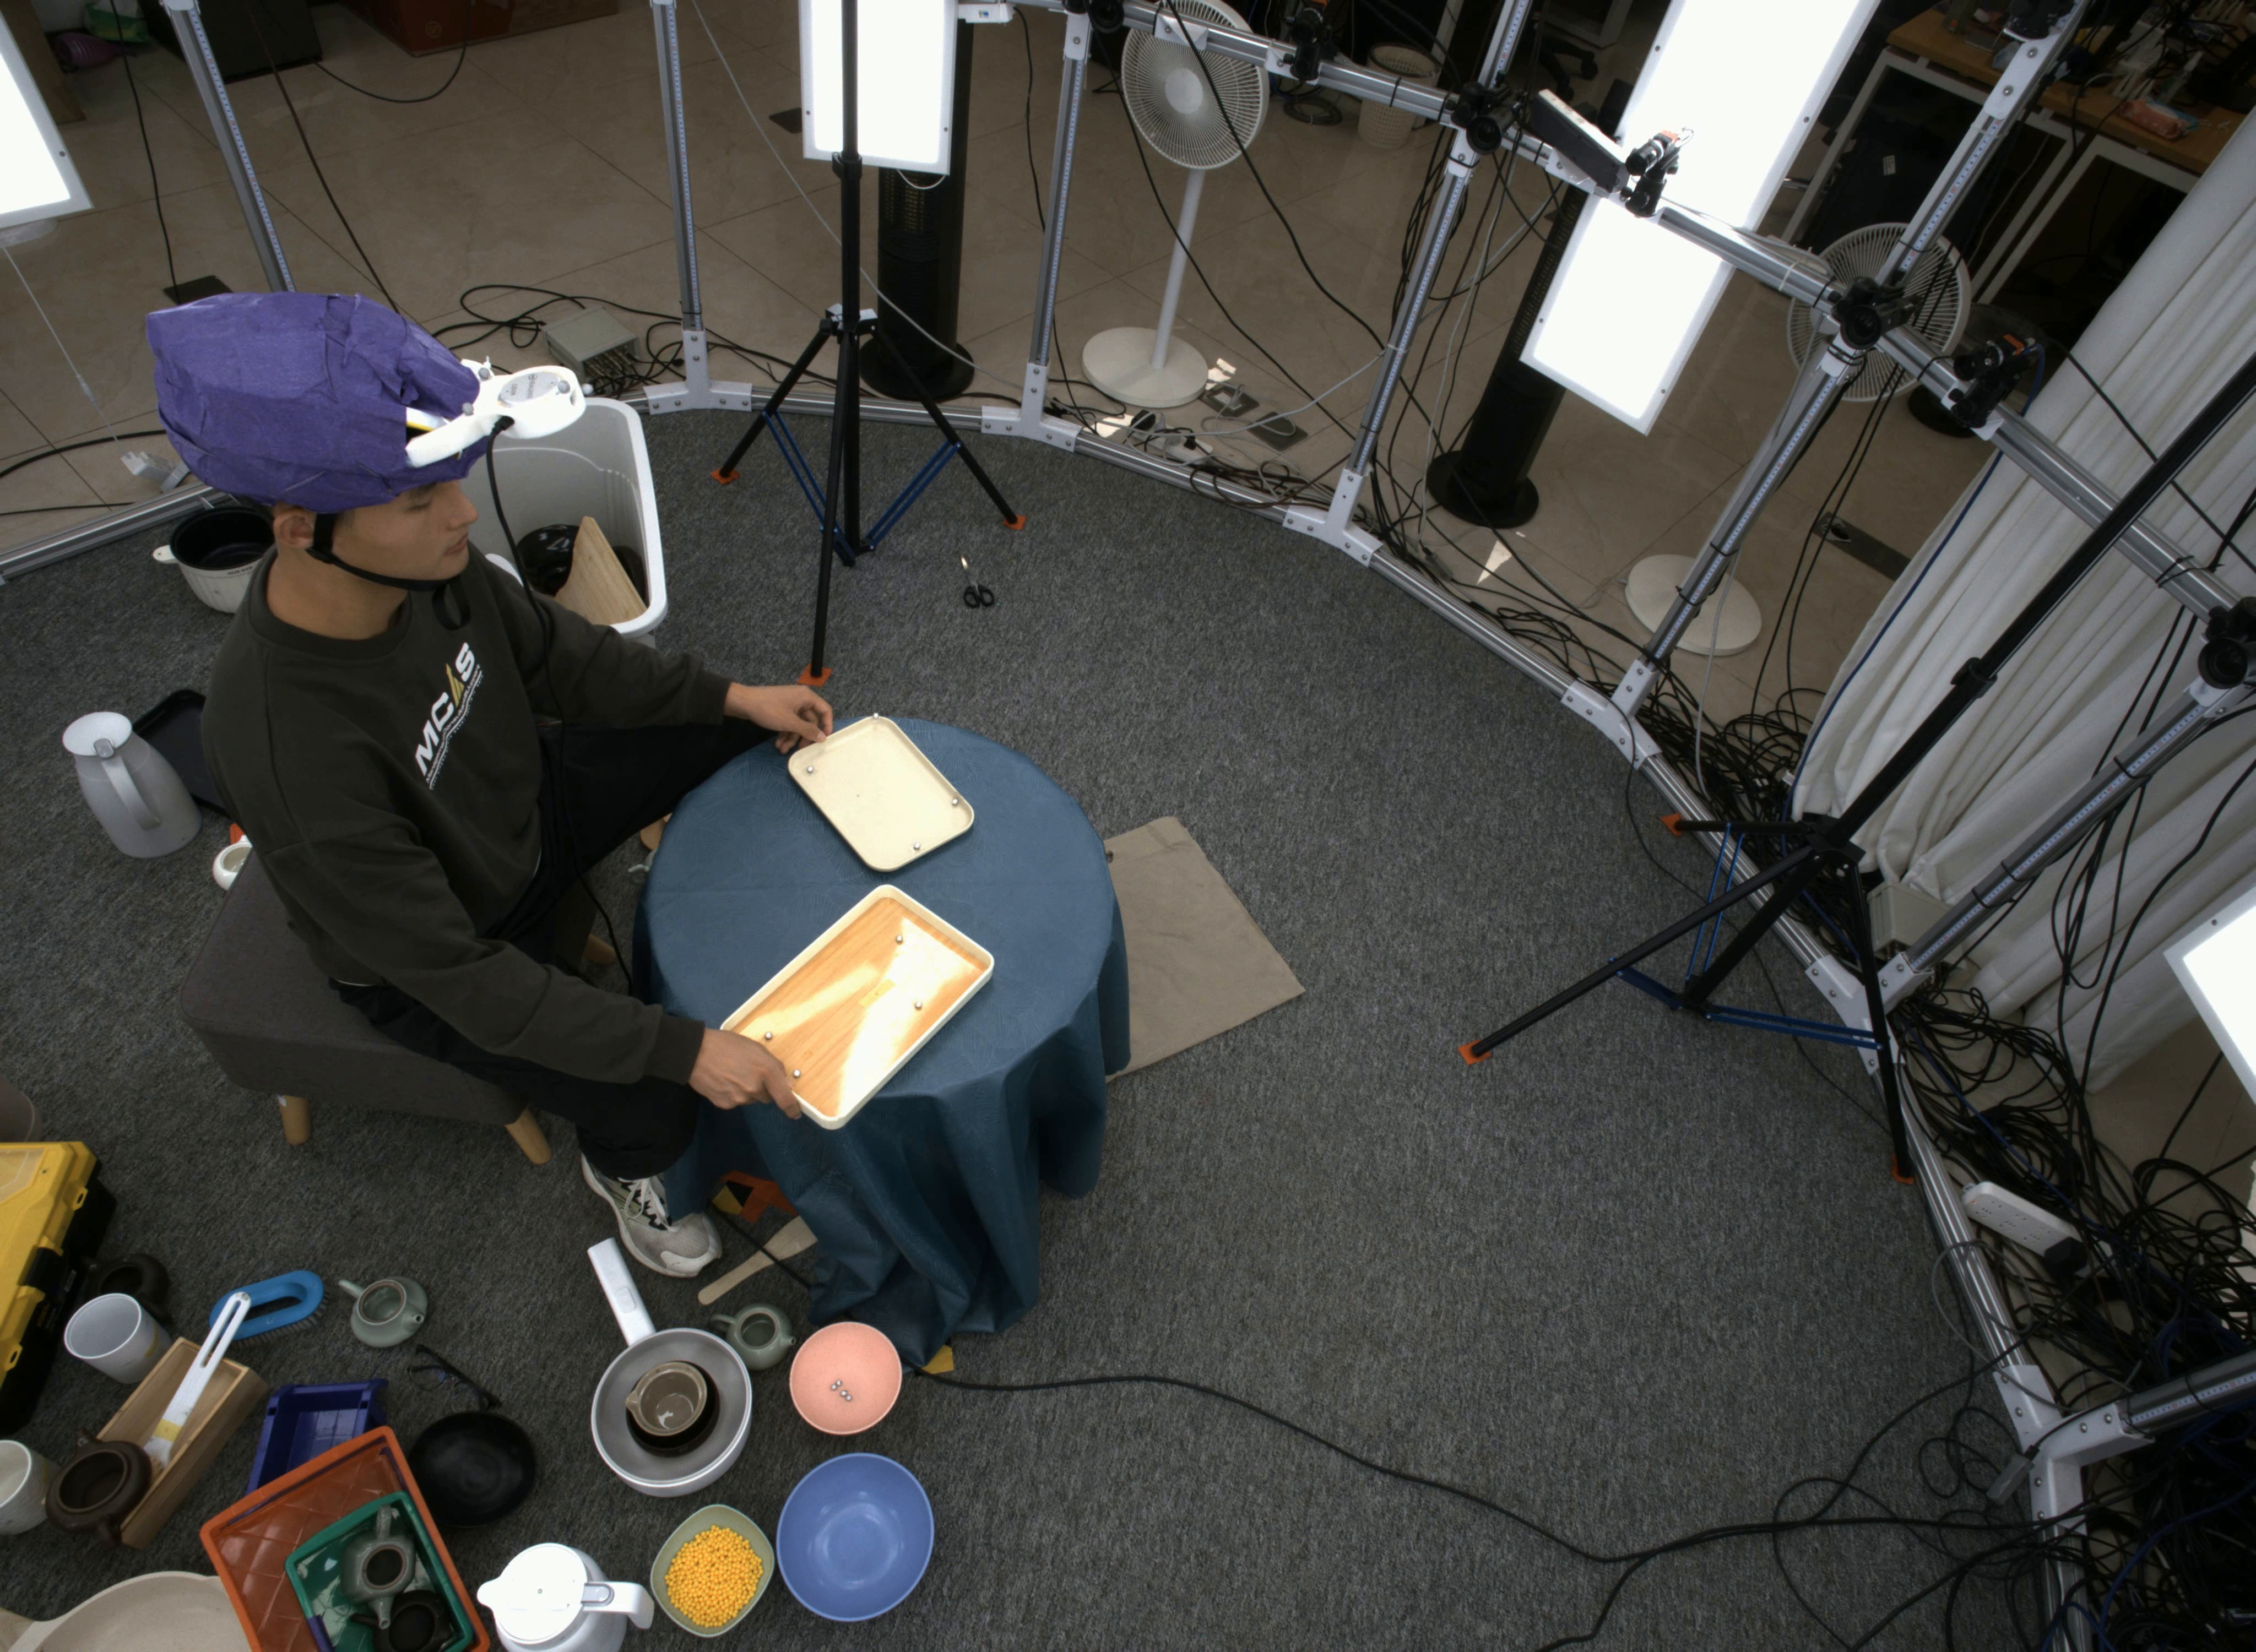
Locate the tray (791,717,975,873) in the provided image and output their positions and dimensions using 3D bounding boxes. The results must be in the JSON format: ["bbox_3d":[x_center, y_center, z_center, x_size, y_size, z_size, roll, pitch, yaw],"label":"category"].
[{"bbox_3d":[-0.335,-0.045,1.779,0.172,0.018,0.234,-32,66,-30],"label":"tray"}]

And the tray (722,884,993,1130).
[{"bbox_3d":[-0.323,0.209,1.580,0.187,0.028,0.300,33,52,14],"label":"tray"}]
